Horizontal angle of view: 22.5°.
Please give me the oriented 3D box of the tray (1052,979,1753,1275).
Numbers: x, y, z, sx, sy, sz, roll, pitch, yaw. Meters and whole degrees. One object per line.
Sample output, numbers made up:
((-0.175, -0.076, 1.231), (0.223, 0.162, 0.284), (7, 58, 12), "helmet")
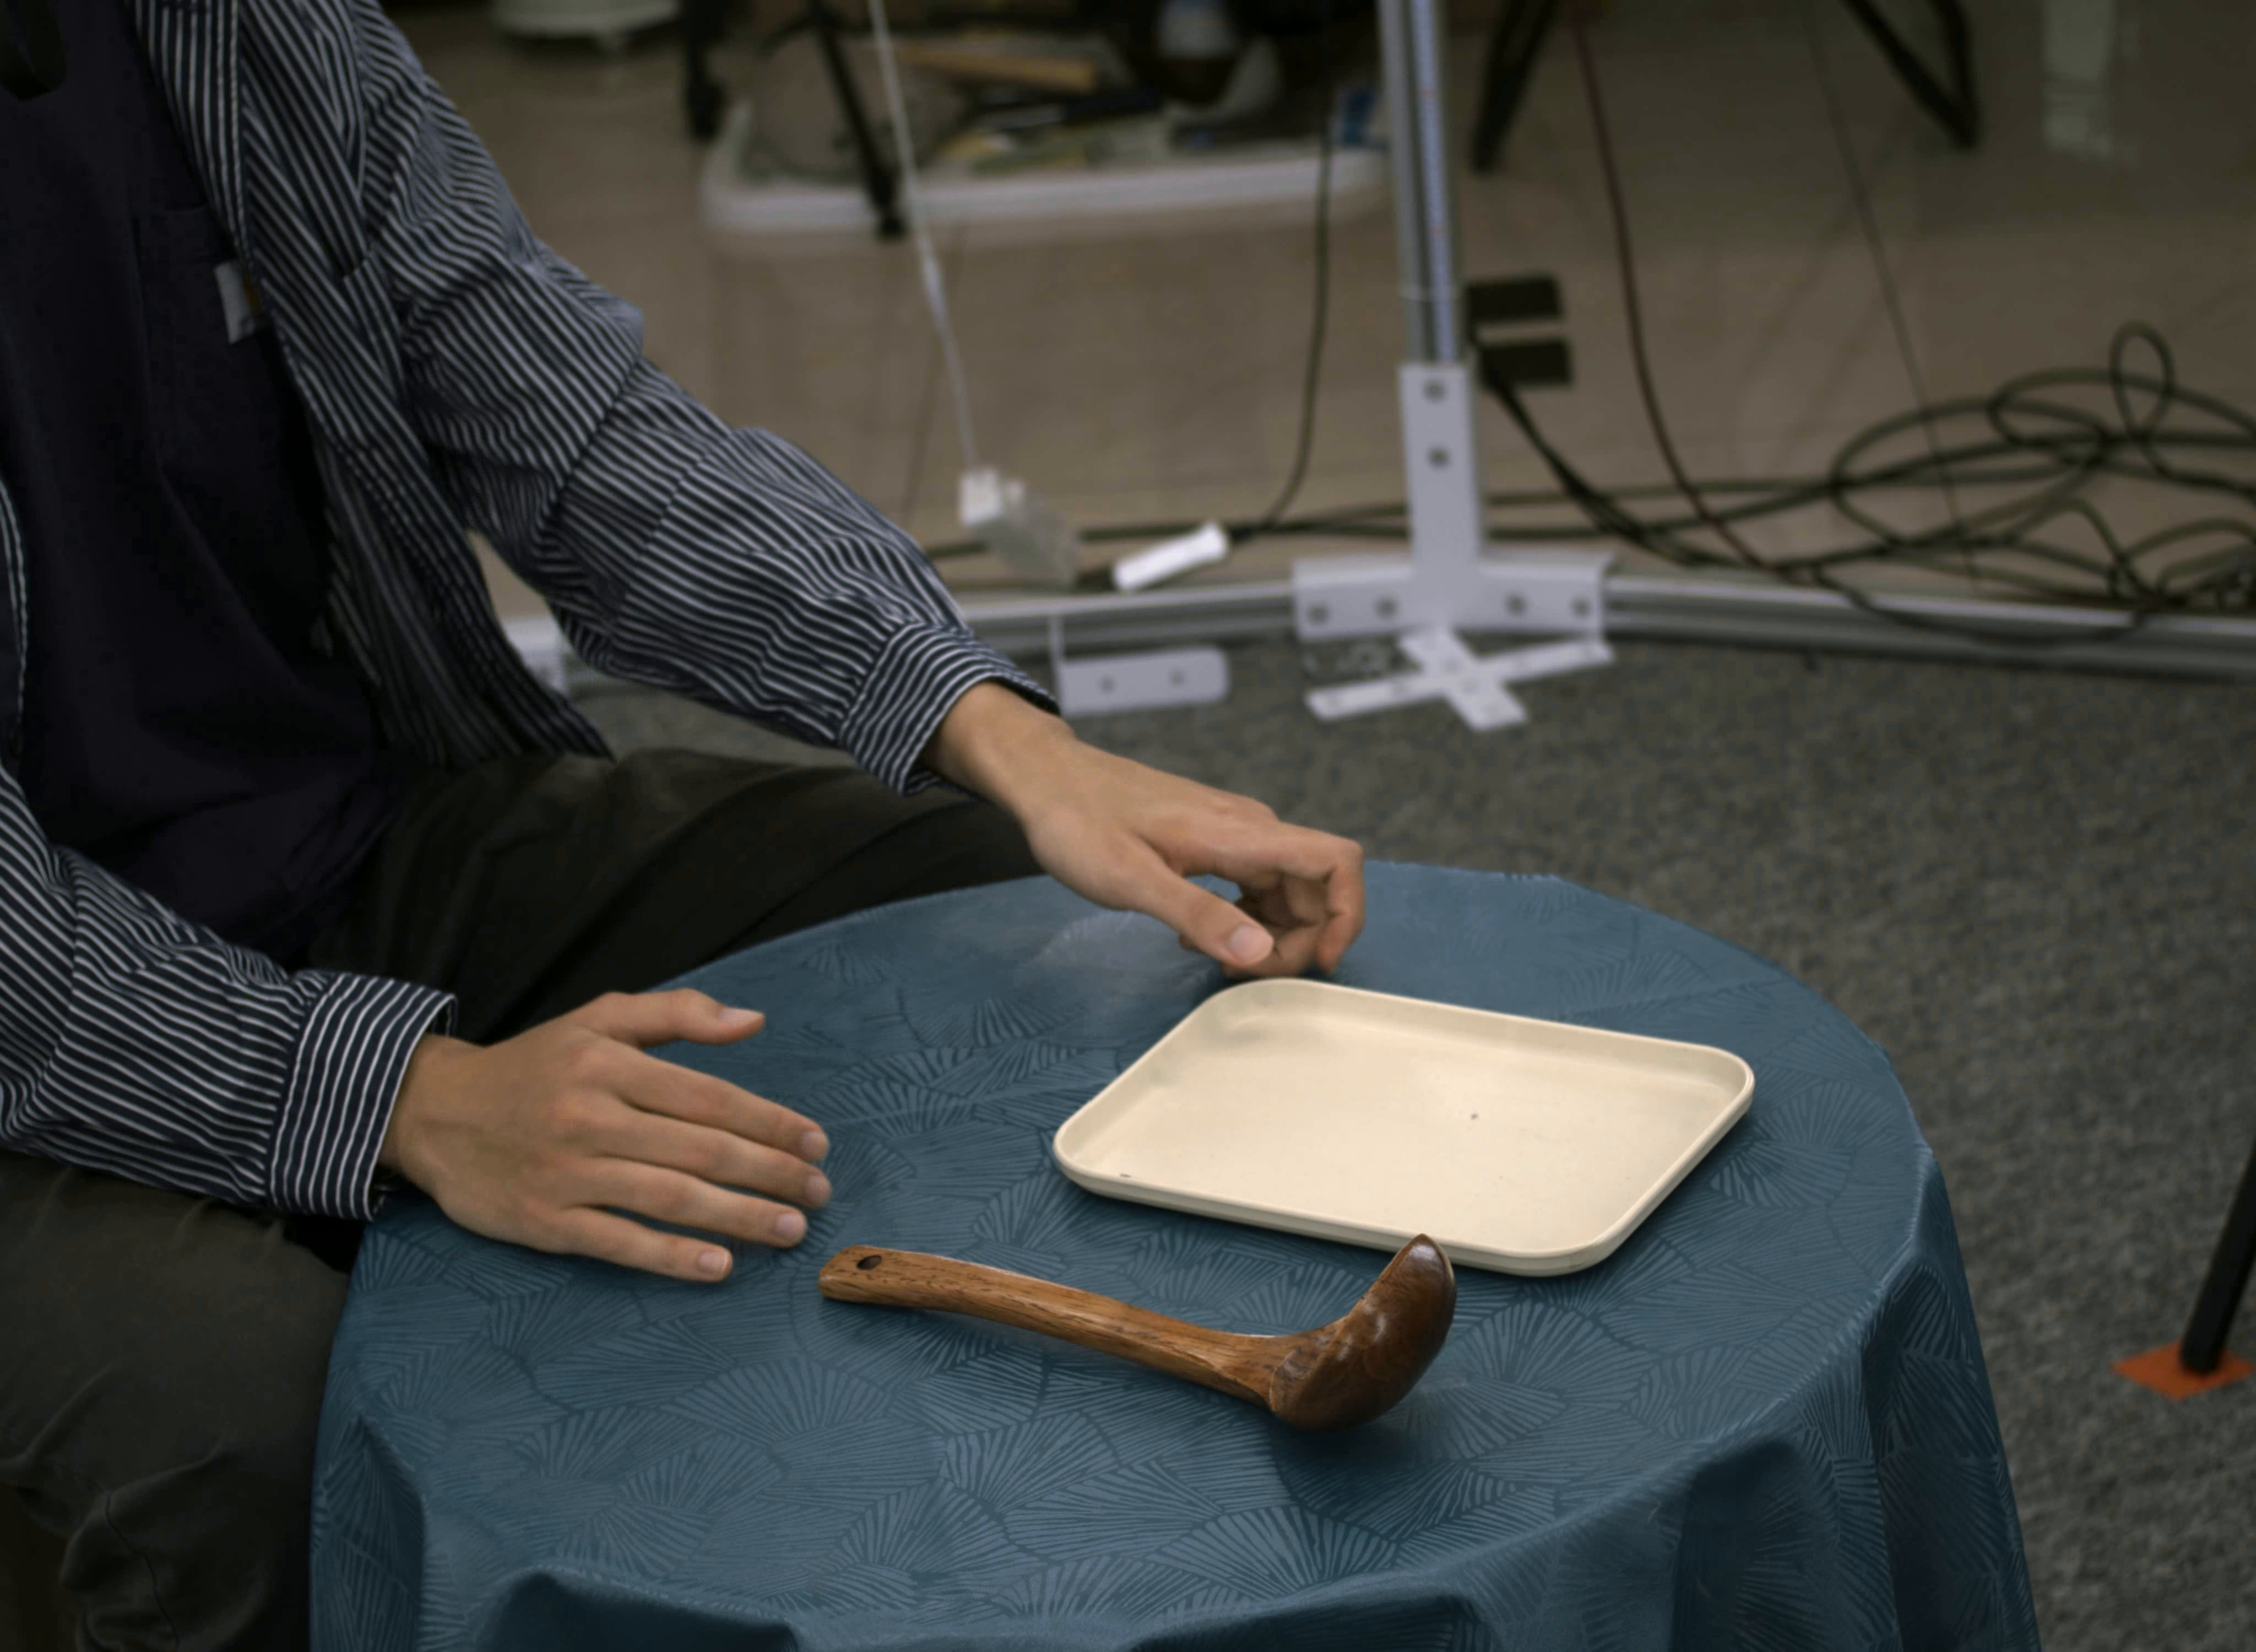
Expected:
((0.105, 0.114, 2.157), (0.238, 0.018, 0.169), (9, 29, 30), "tray")

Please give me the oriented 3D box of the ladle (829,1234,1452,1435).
((-0.005, 0.159, 2.018), (0.272, 0.078, 0.081), (13, 36, 35), "ladle")
